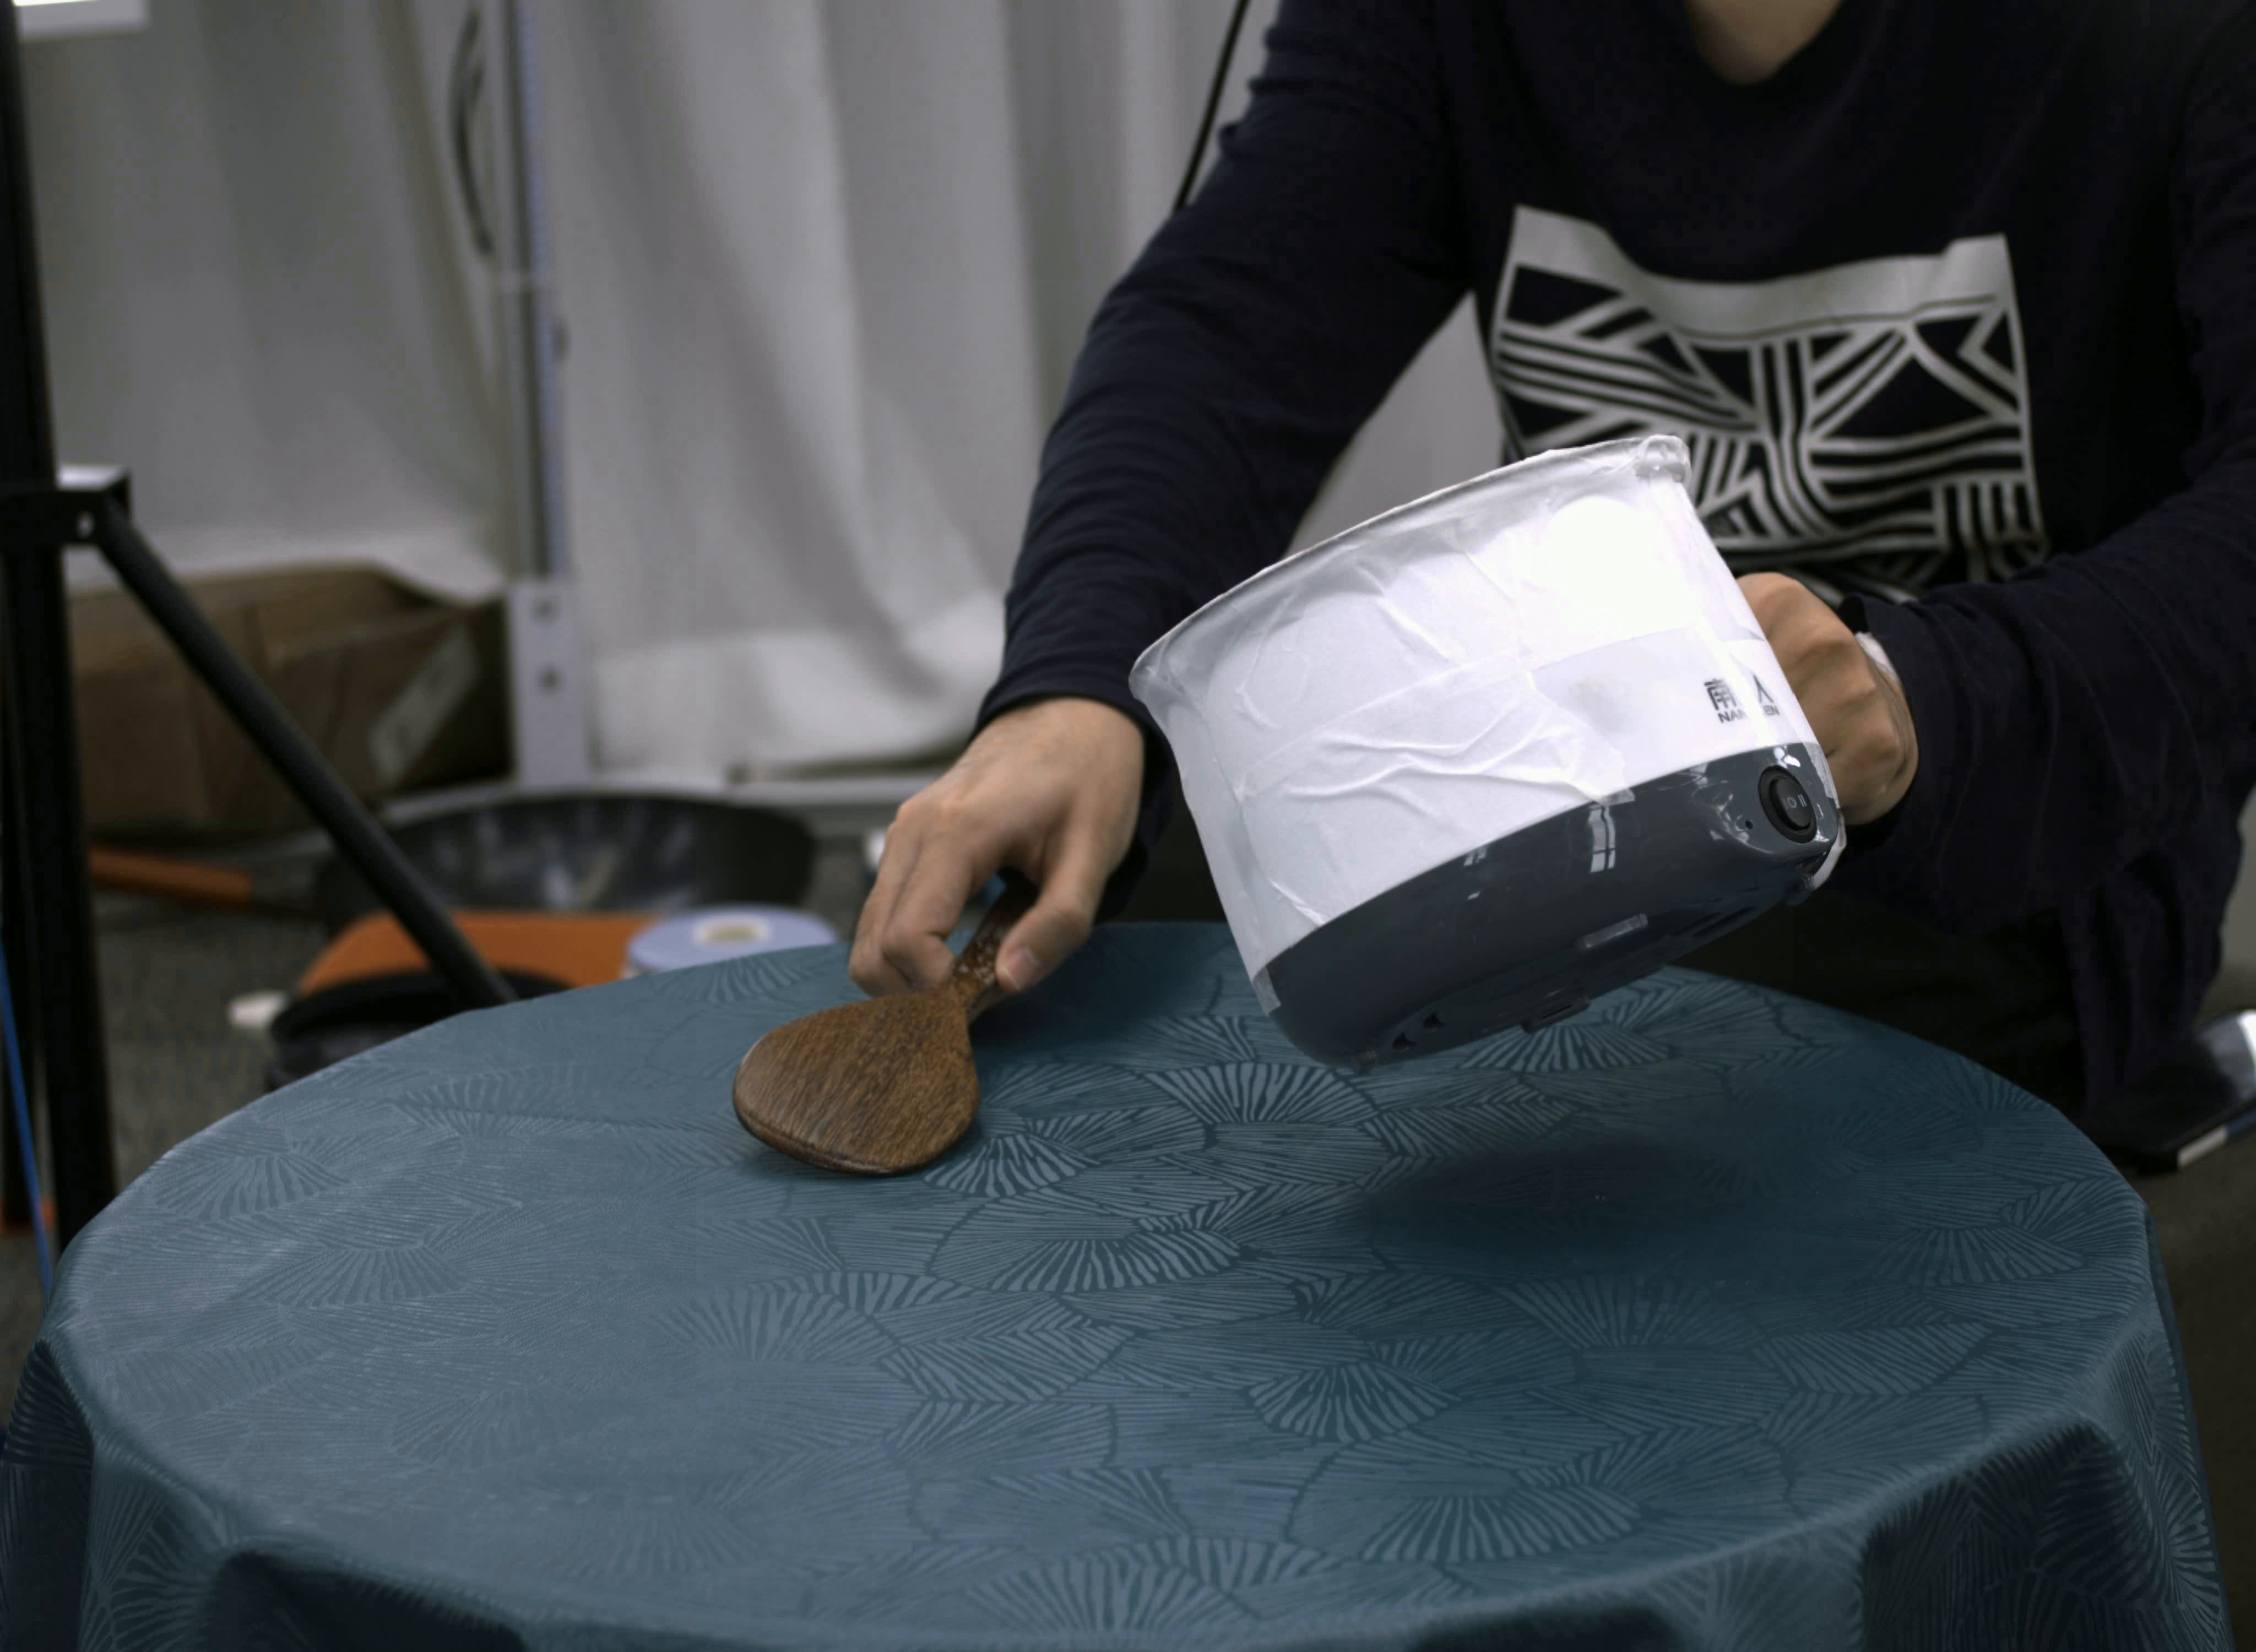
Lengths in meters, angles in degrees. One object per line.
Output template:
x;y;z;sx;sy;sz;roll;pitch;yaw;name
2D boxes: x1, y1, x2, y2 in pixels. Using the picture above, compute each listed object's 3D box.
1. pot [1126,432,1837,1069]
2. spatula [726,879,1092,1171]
0.121;-0.021;1.550;0.181;0.138;0.228;-26;-9;37;pot
-0.057;0.060;1.673;0.072;0.009;0.213;21;28;16;spatula
